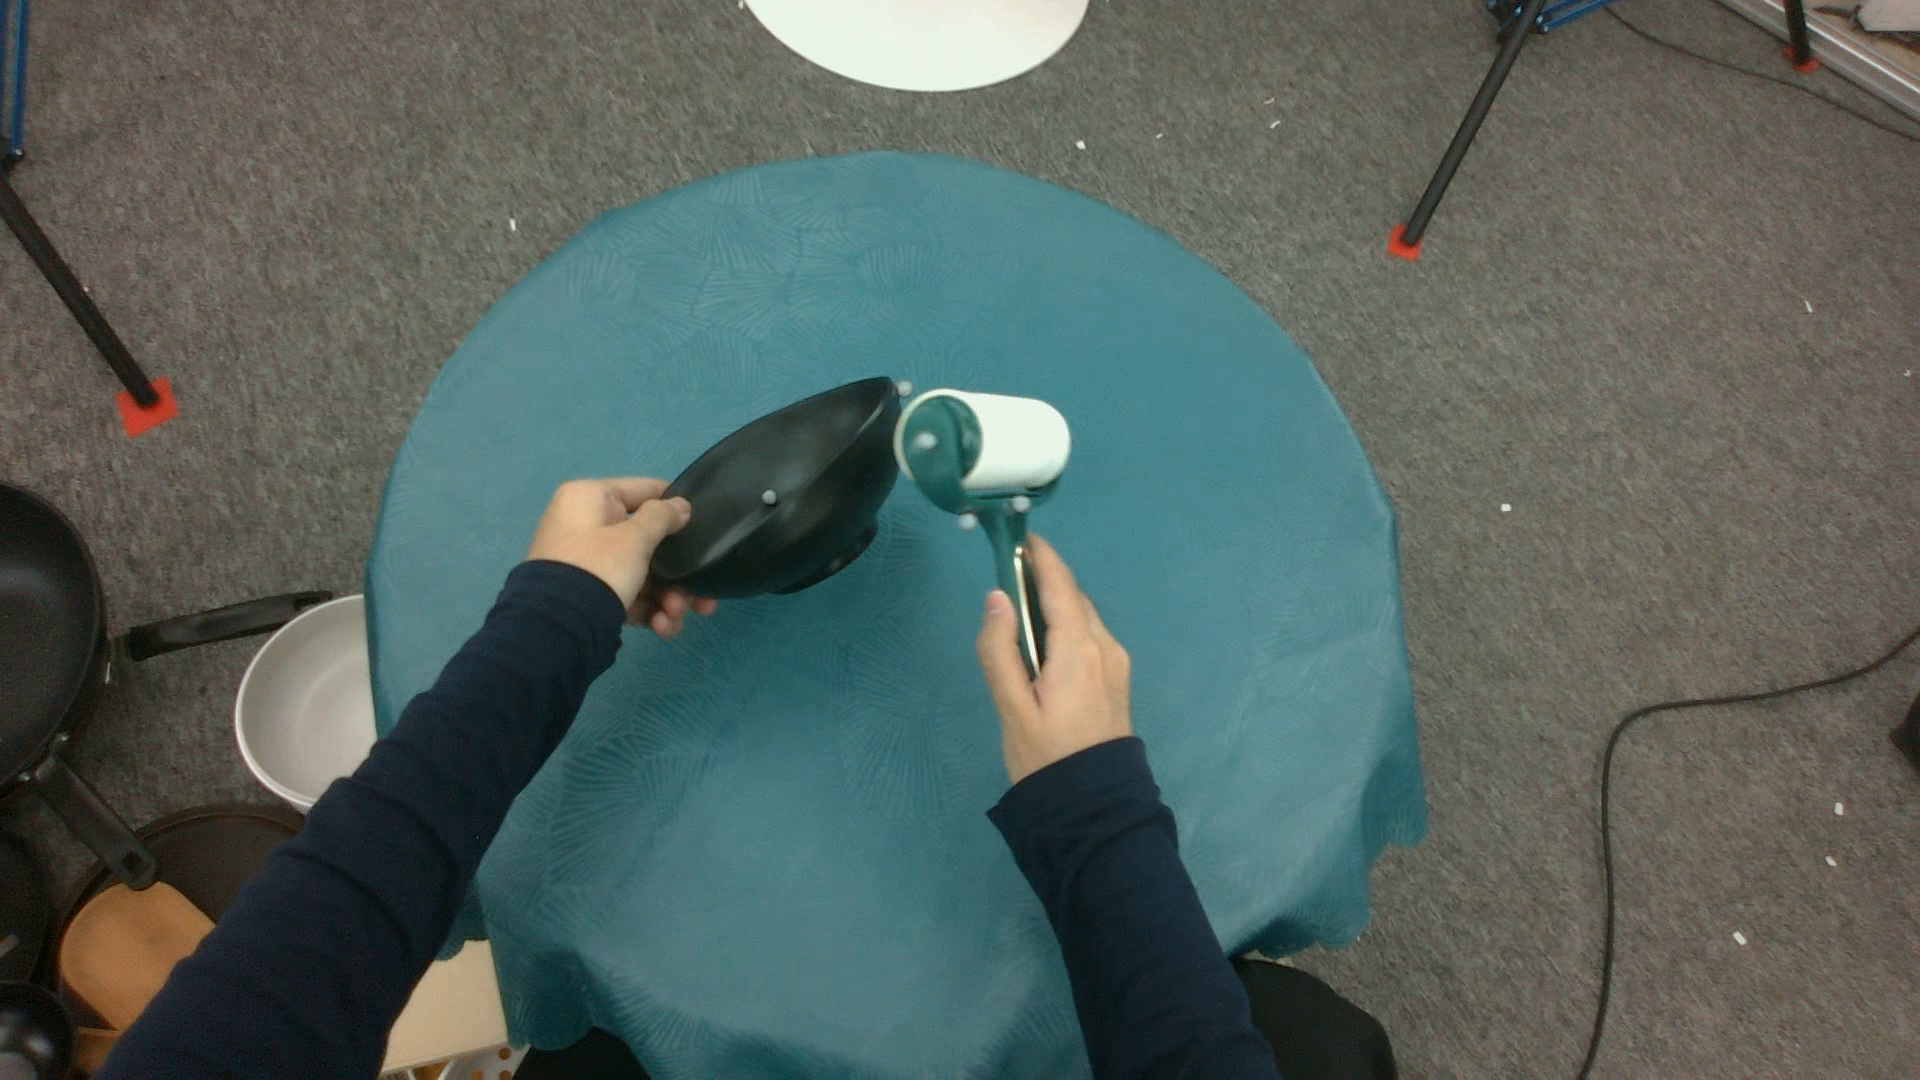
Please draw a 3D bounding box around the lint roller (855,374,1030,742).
[{"bbox_3d":[0.015,0.006,0.661,0.048,0.135,0.180,-21,87,26],"label":"lint roller"}]

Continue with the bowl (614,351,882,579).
[{"bbox_3d":[-0.096,-0.030,0.701,0.066,0.137,0.171,60,41,-24],"label":"bowl"}]
